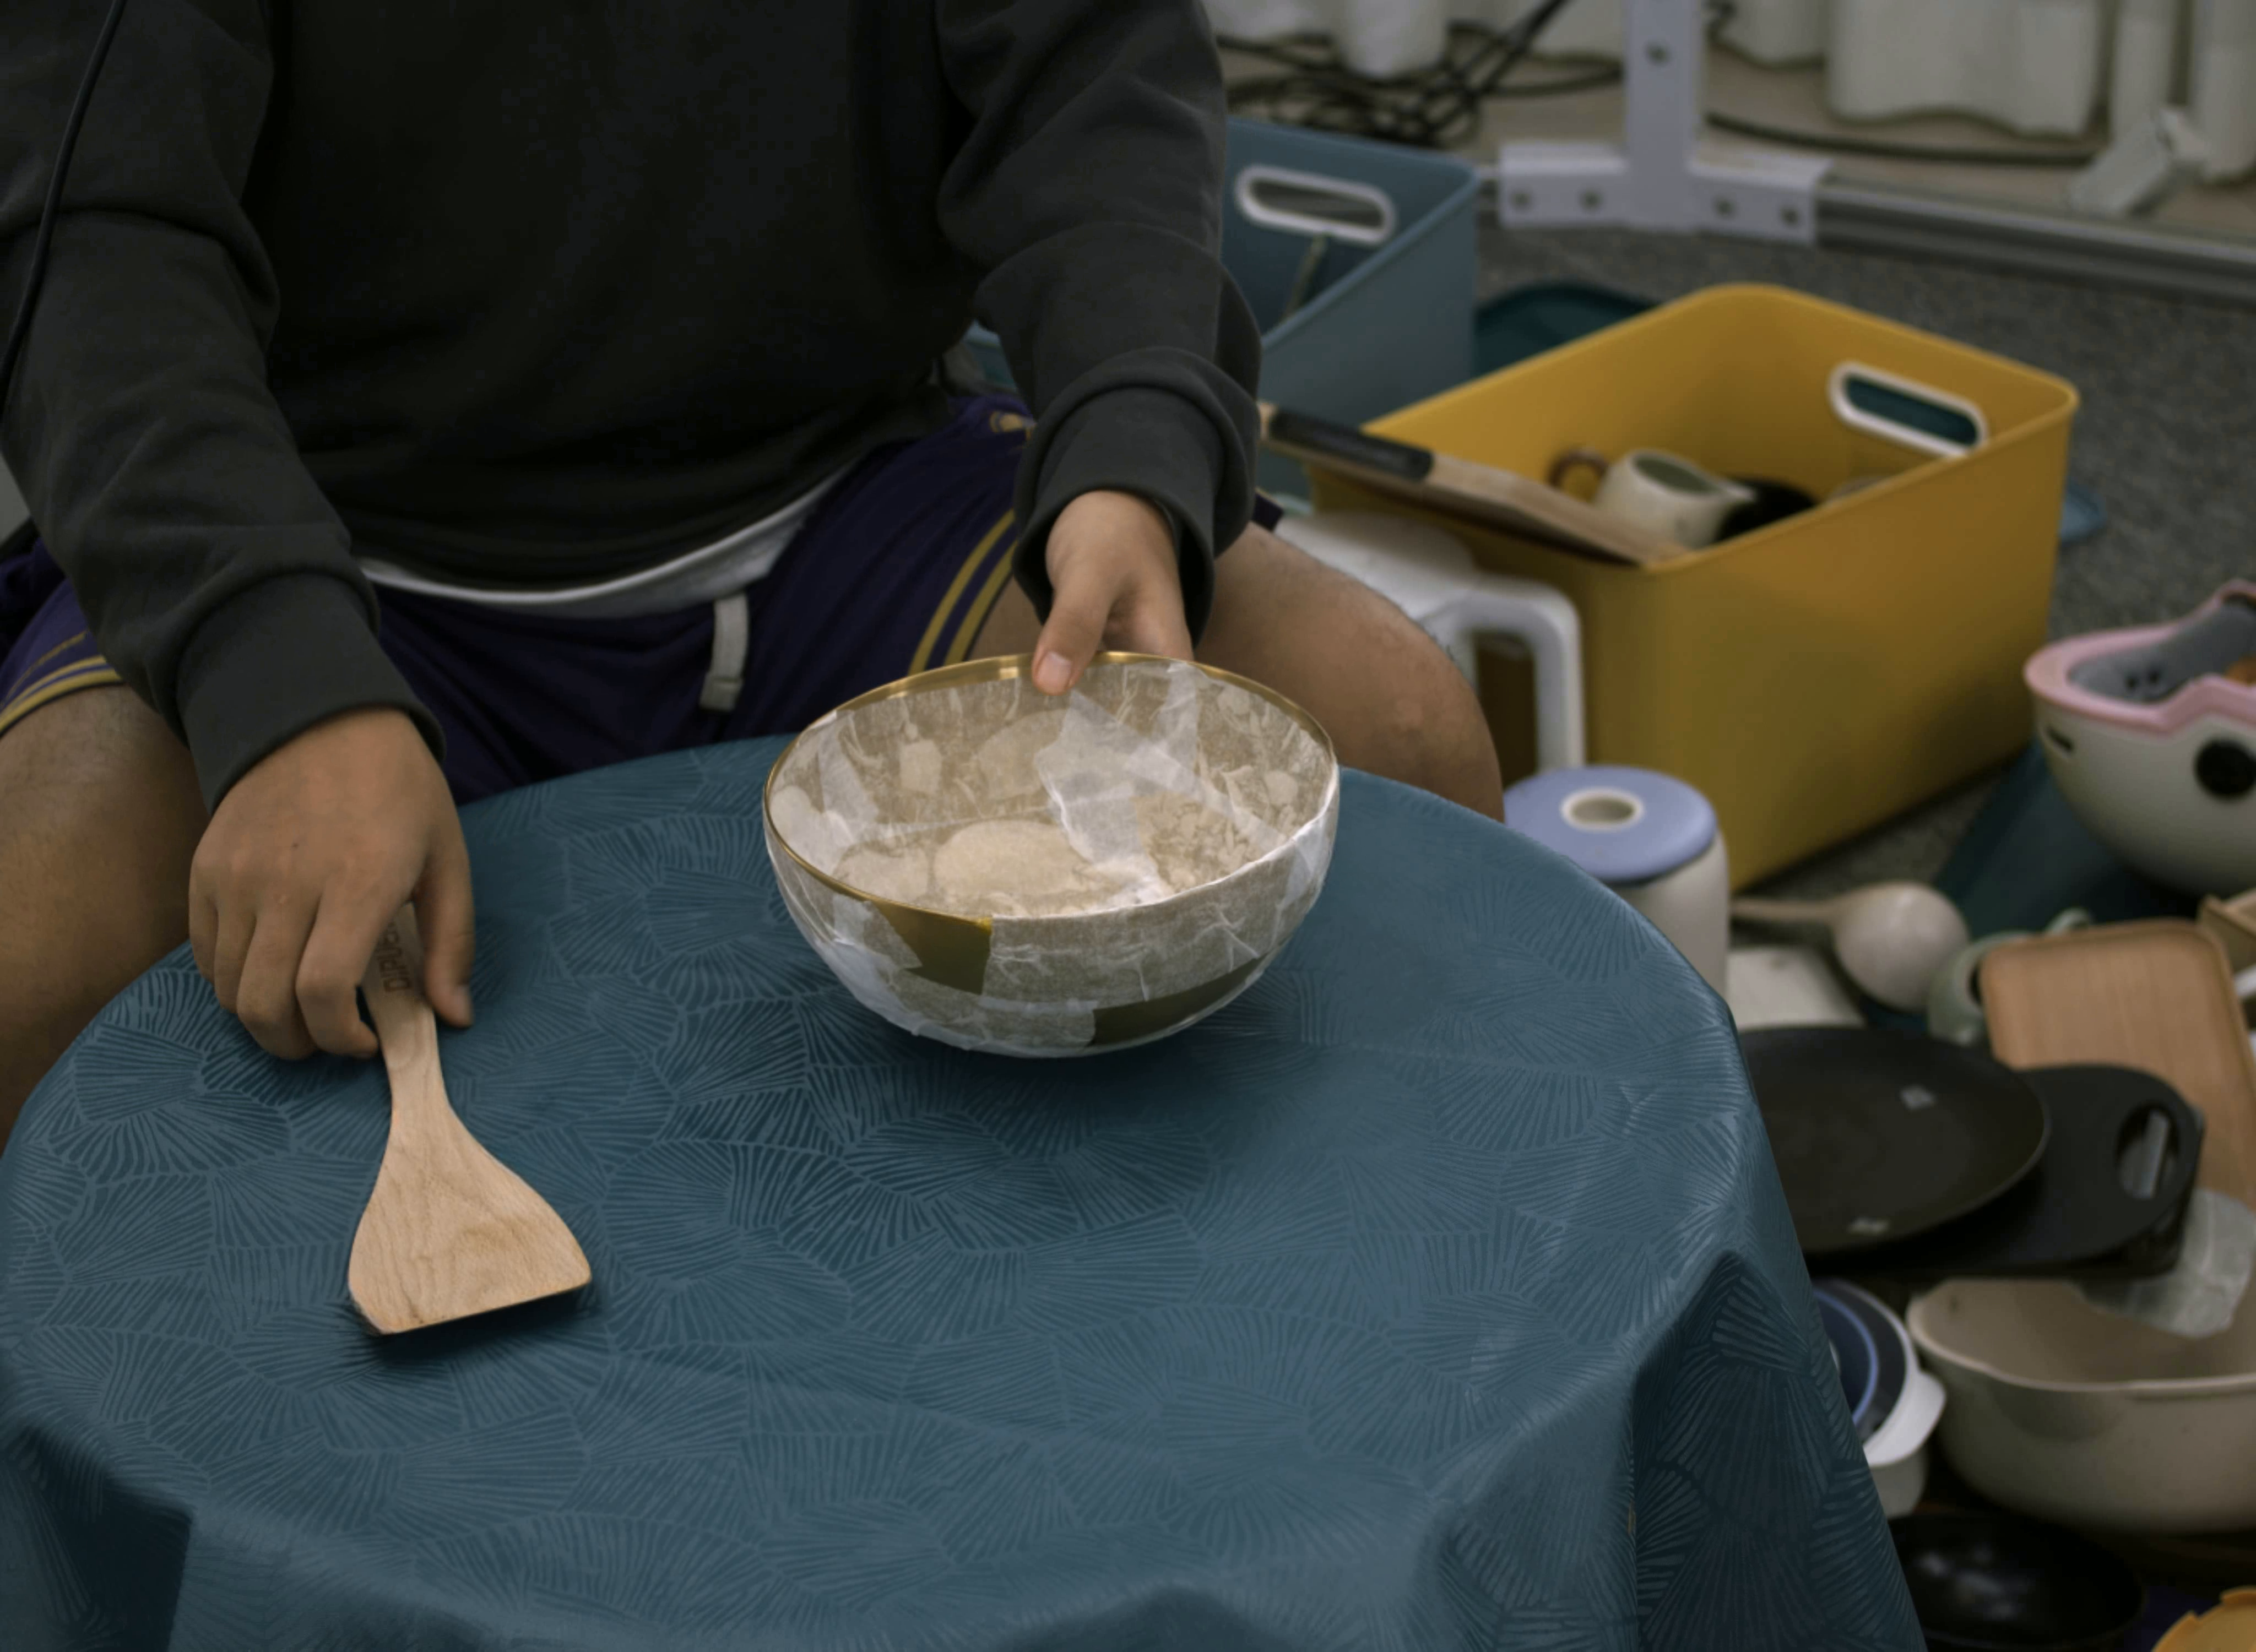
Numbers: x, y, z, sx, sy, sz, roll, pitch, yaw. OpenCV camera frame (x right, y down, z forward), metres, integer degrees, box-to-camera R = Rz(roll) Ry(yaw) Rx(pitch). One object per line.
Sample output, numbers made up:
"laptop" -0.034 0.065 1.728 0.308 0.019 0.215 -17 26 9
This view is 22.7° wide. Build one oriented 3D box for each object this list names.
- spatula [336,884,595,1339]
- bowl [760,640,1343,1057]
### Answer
"spatula" -0.242 0.092 1.926 0.080 0.016 0.331 -9 28 -10
"bowl" -0.025 0.018 1.960 0.213 0.093 0.218 -2 28 2
